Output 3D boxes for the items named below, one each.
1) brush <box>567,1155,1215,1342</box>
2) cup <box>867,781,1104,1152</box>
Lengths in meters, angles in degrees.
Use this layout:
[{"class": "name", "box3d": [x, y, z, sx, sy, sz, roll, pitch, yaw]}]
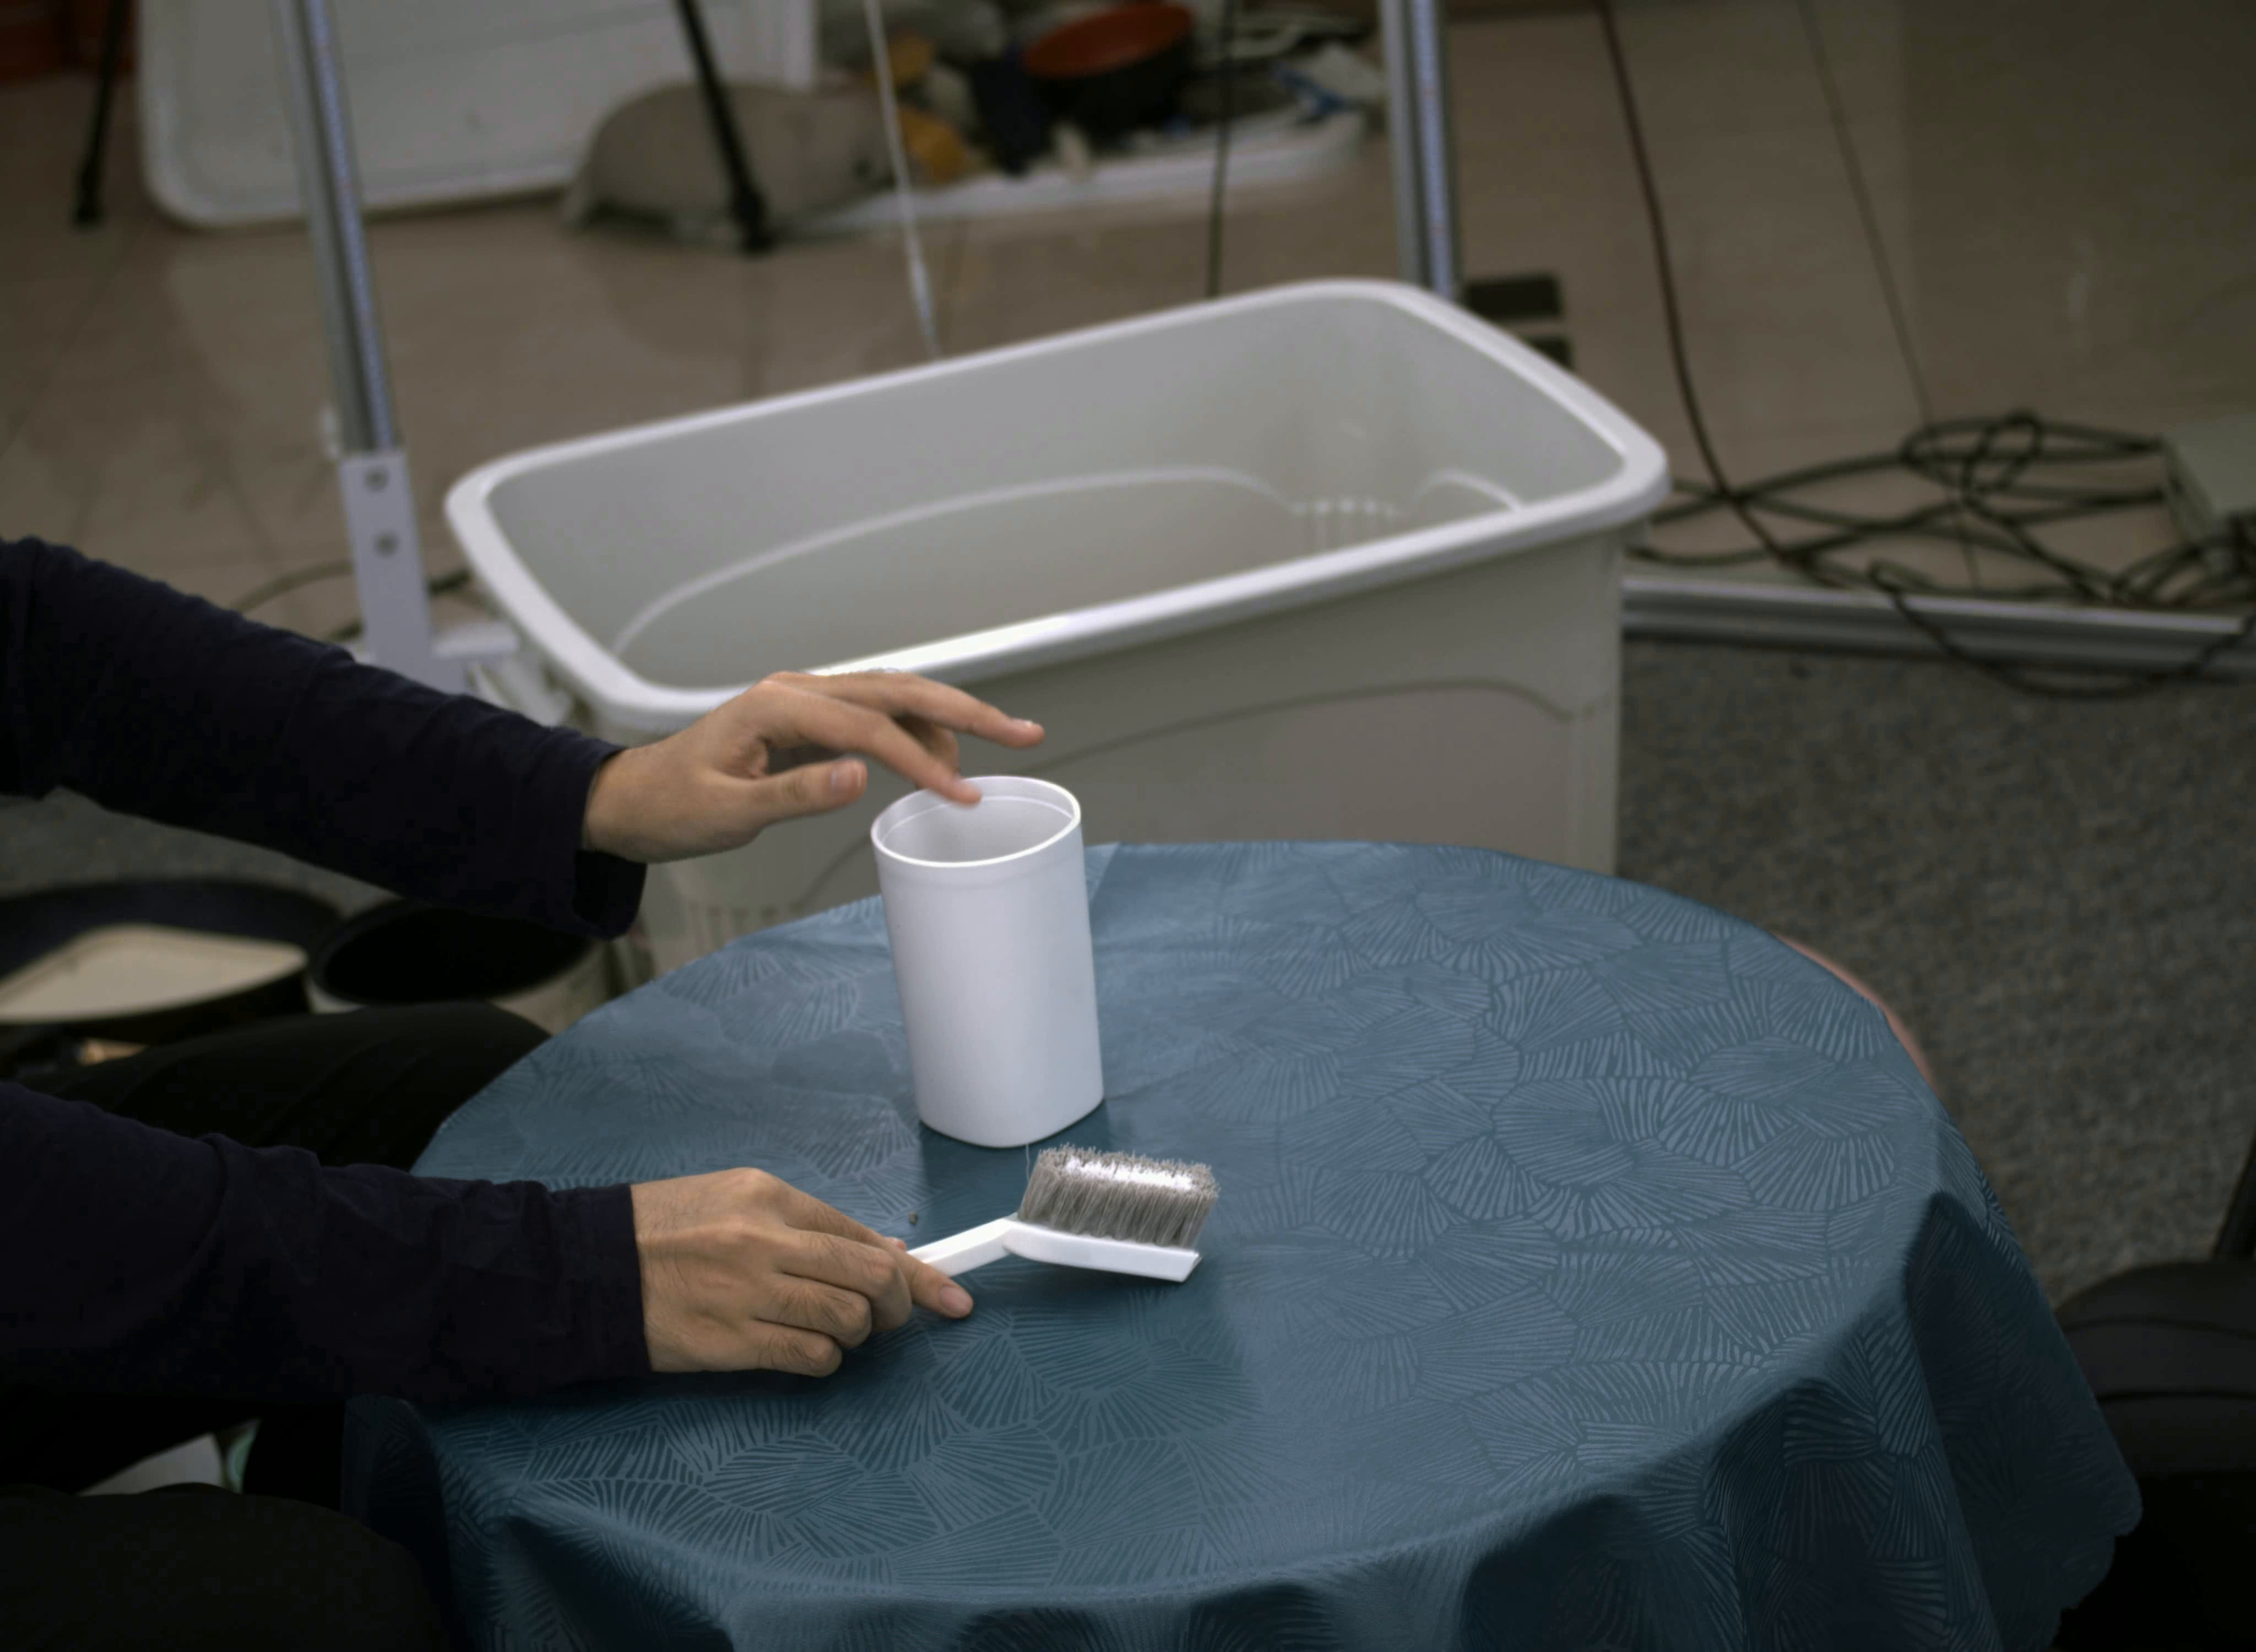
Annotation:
[{"class": "brush", "box3d": [-0.088, 0.154, 2.082, 0.243, 0.051, 0.034, -6, 29, 2]}, {"class": "cup", "box3d": [-0.053, 0.055, 2.194, 0.081, 0.127, 0.080, -6, 25, 3]}]
